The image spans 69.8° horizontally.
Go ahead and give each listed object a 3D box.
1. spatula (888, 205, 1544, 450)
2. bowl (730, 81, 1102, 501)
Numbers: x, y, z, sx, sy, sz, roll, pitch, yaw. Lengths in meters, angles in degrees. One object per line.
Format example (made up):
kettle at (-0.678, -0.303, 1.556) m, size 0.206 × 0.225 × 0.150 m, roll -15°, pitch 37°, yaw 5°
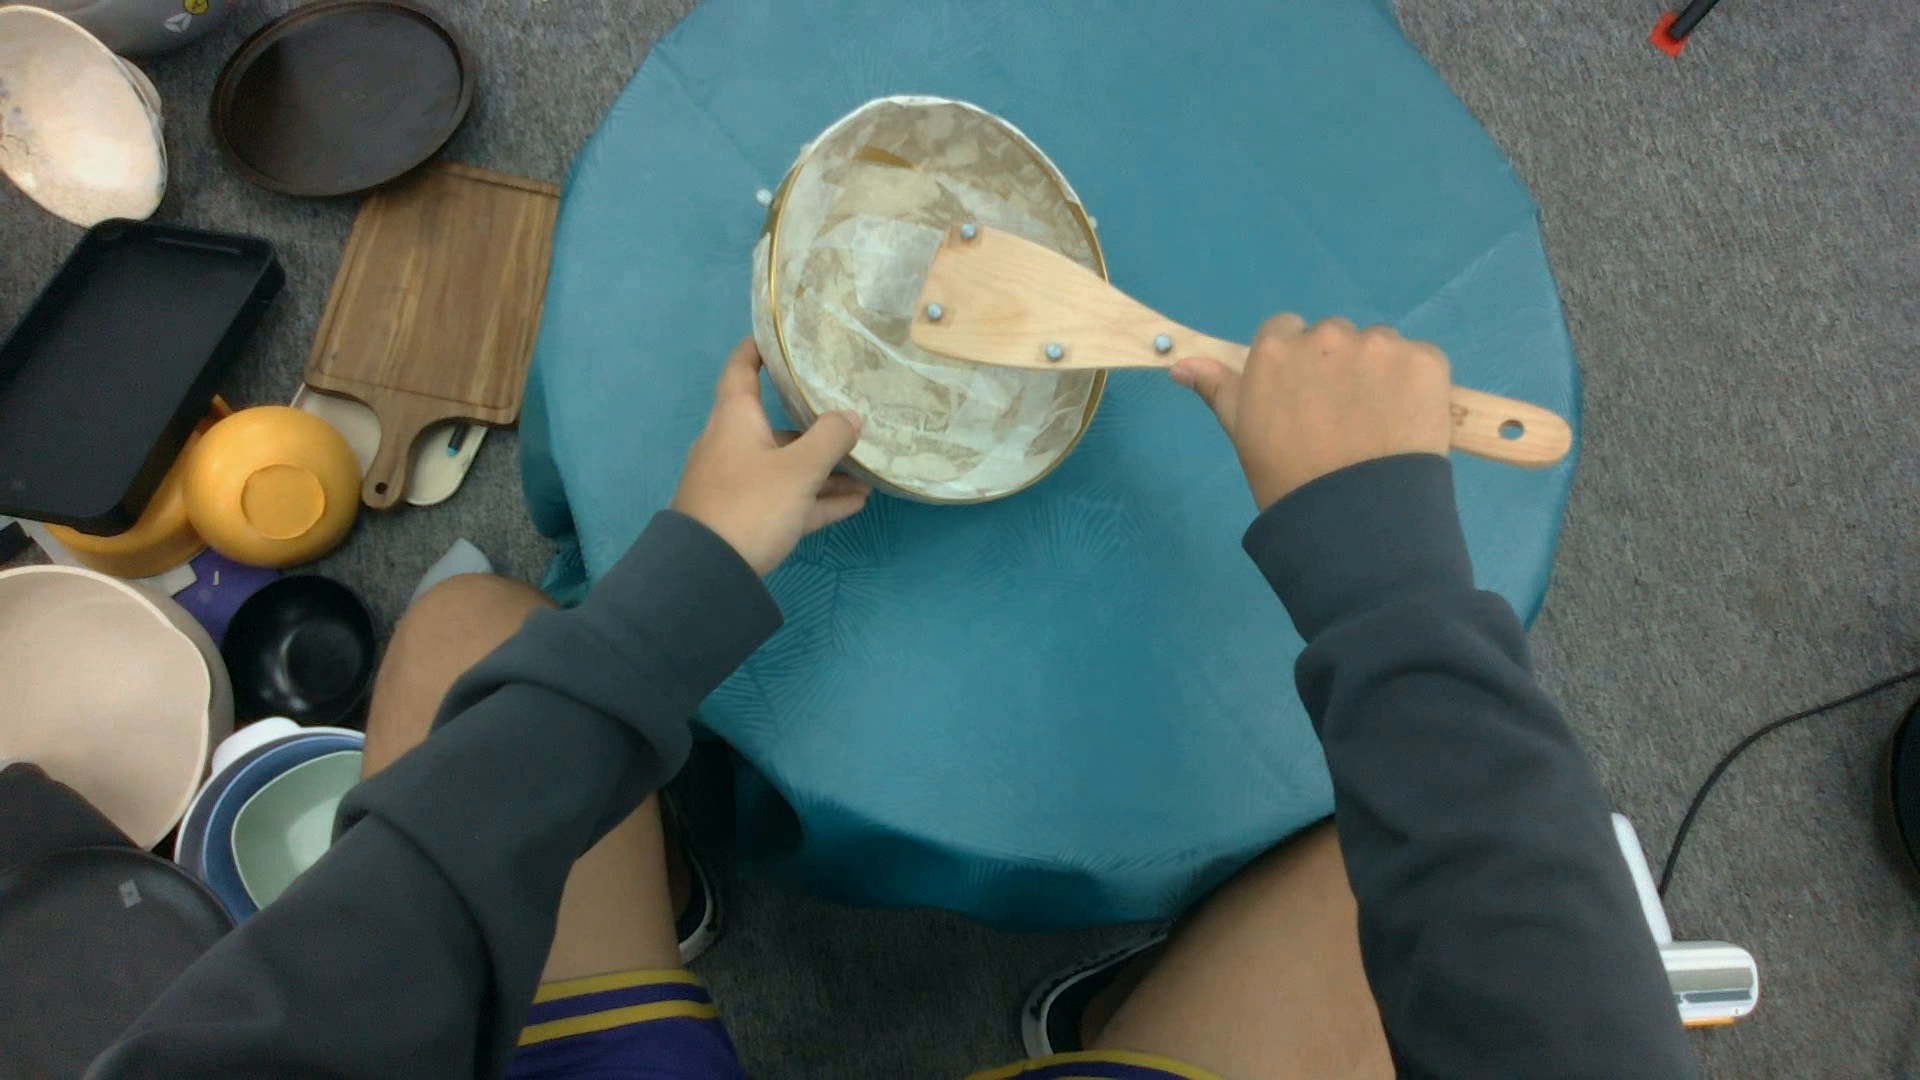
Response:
spatula at (0.105, -0.095, 0.646) m, size 0.327 × 0.016 × 0.080 m, roll 20°, pitch 71°, yaw 29°
bowl at (-0.036, -0.121, 0.716) m, size 0.215 × 0.094 × 0.215 m, roll 3°, pitch 84°, yaw -33°
